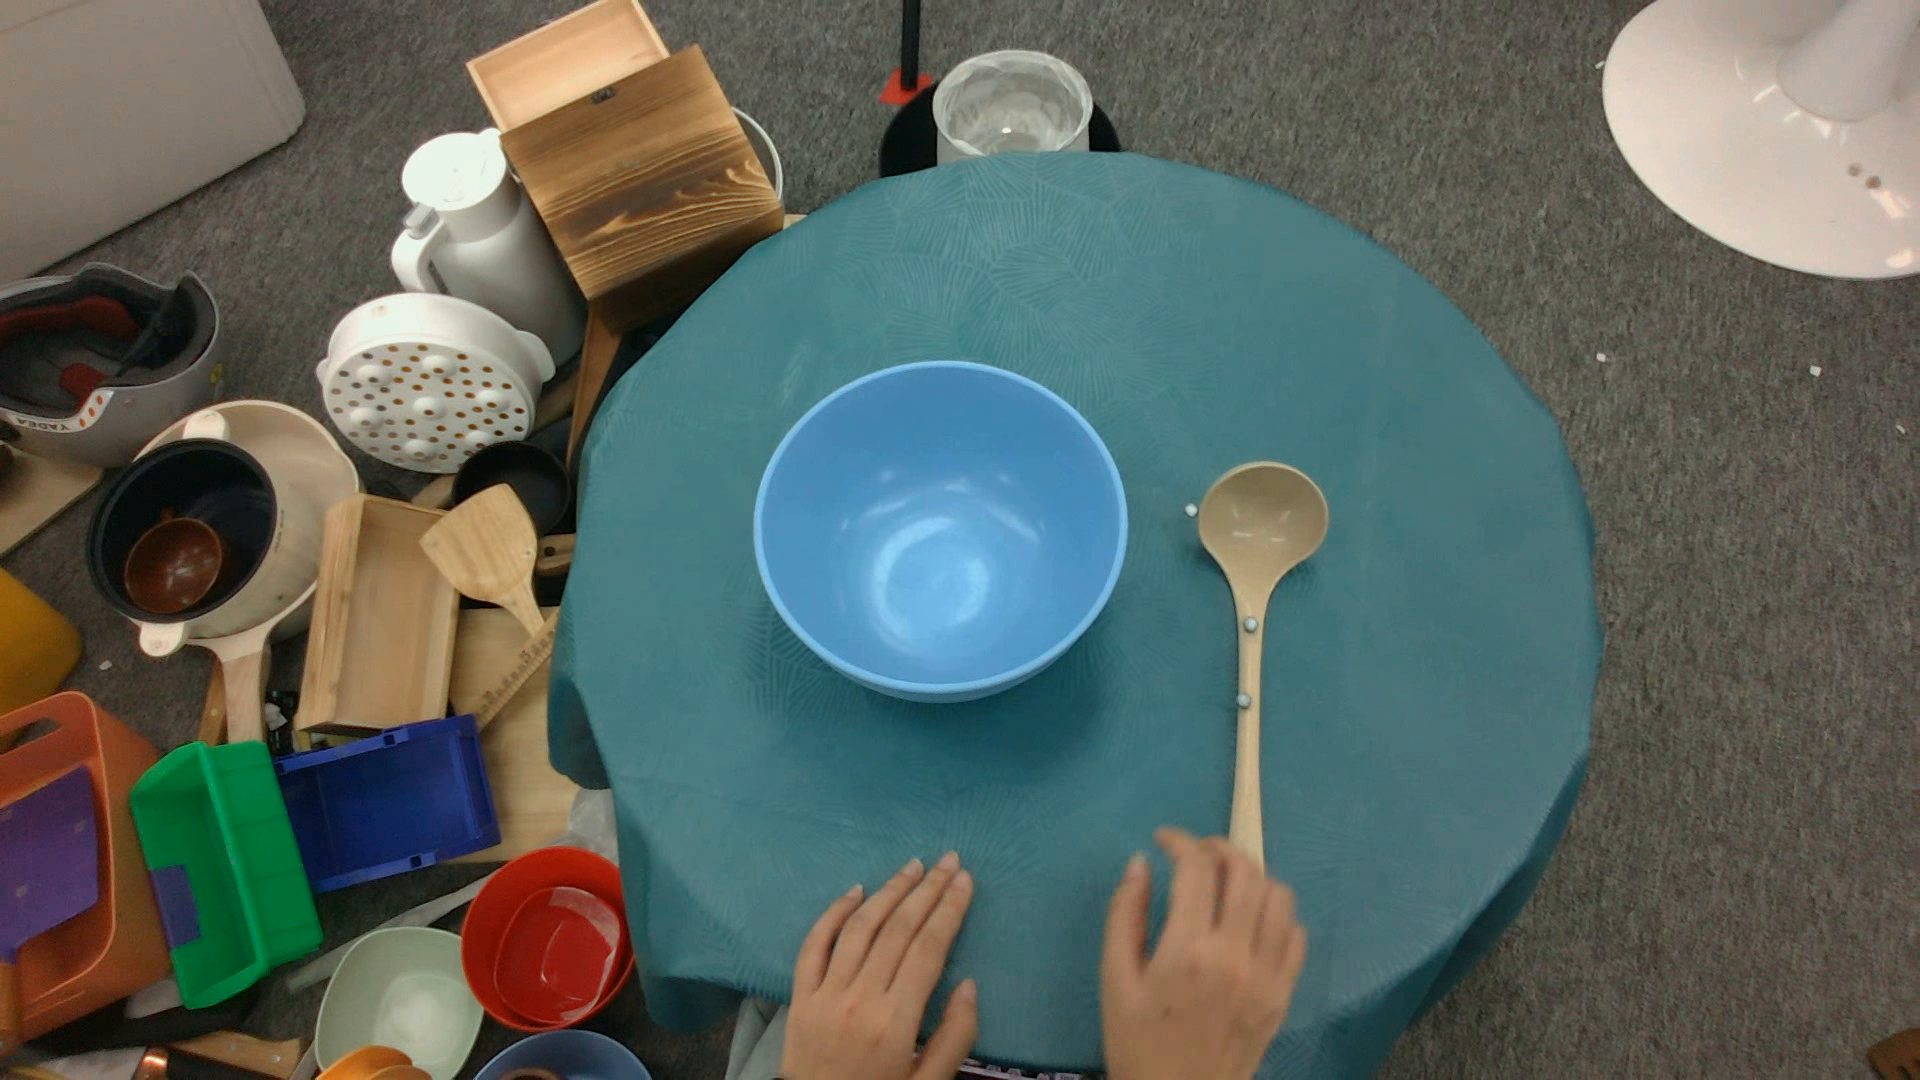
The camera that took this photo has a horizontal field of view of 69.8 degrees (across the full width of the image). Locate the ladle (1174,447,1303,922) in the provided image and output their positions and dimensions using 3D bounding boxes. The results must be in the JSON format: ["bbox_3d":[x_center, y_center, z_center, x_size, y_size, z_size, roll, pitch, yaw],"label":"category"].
[{"bbox_3d":[0.151,0.068,0.738,0.072,0.072,0.255,4,63,3],"label":"ladle"}]

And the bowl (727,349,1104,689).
[{"bbox_3d":[-0.023,0.001,0.756,0.196,0.095,0.197,0,60,0],"label":"bowl"}]
